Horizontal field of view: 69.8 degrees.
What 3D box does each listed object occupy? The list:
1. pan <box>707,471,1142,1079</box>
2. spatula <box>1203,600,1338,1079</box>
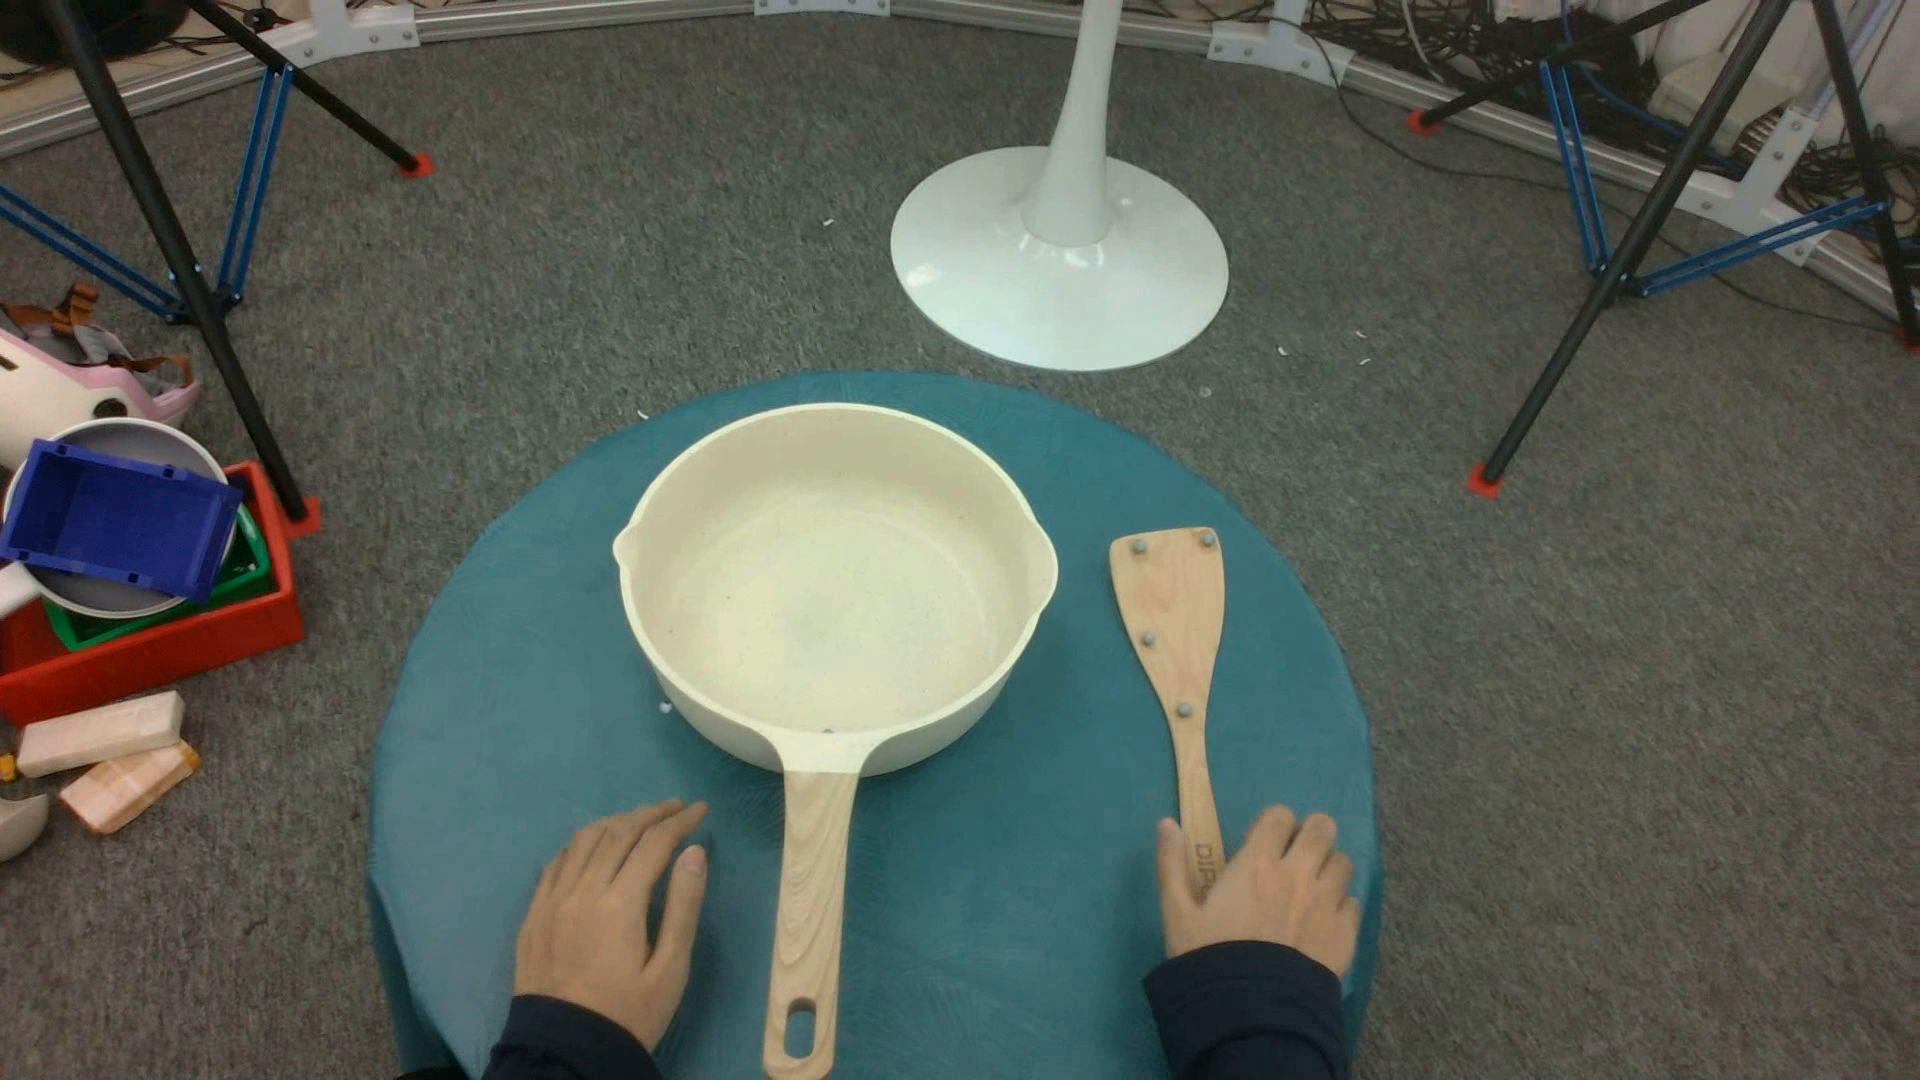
[{"bbox_3d":[-0.027,0.141,0.795,0.263,0.101,0.437,4,49,-1],"label":"pan"},{"bbox_3d":[0.197,0.167,0.840,0.080,0.016,0.329,4,49,0],"label":"spatula"}]
